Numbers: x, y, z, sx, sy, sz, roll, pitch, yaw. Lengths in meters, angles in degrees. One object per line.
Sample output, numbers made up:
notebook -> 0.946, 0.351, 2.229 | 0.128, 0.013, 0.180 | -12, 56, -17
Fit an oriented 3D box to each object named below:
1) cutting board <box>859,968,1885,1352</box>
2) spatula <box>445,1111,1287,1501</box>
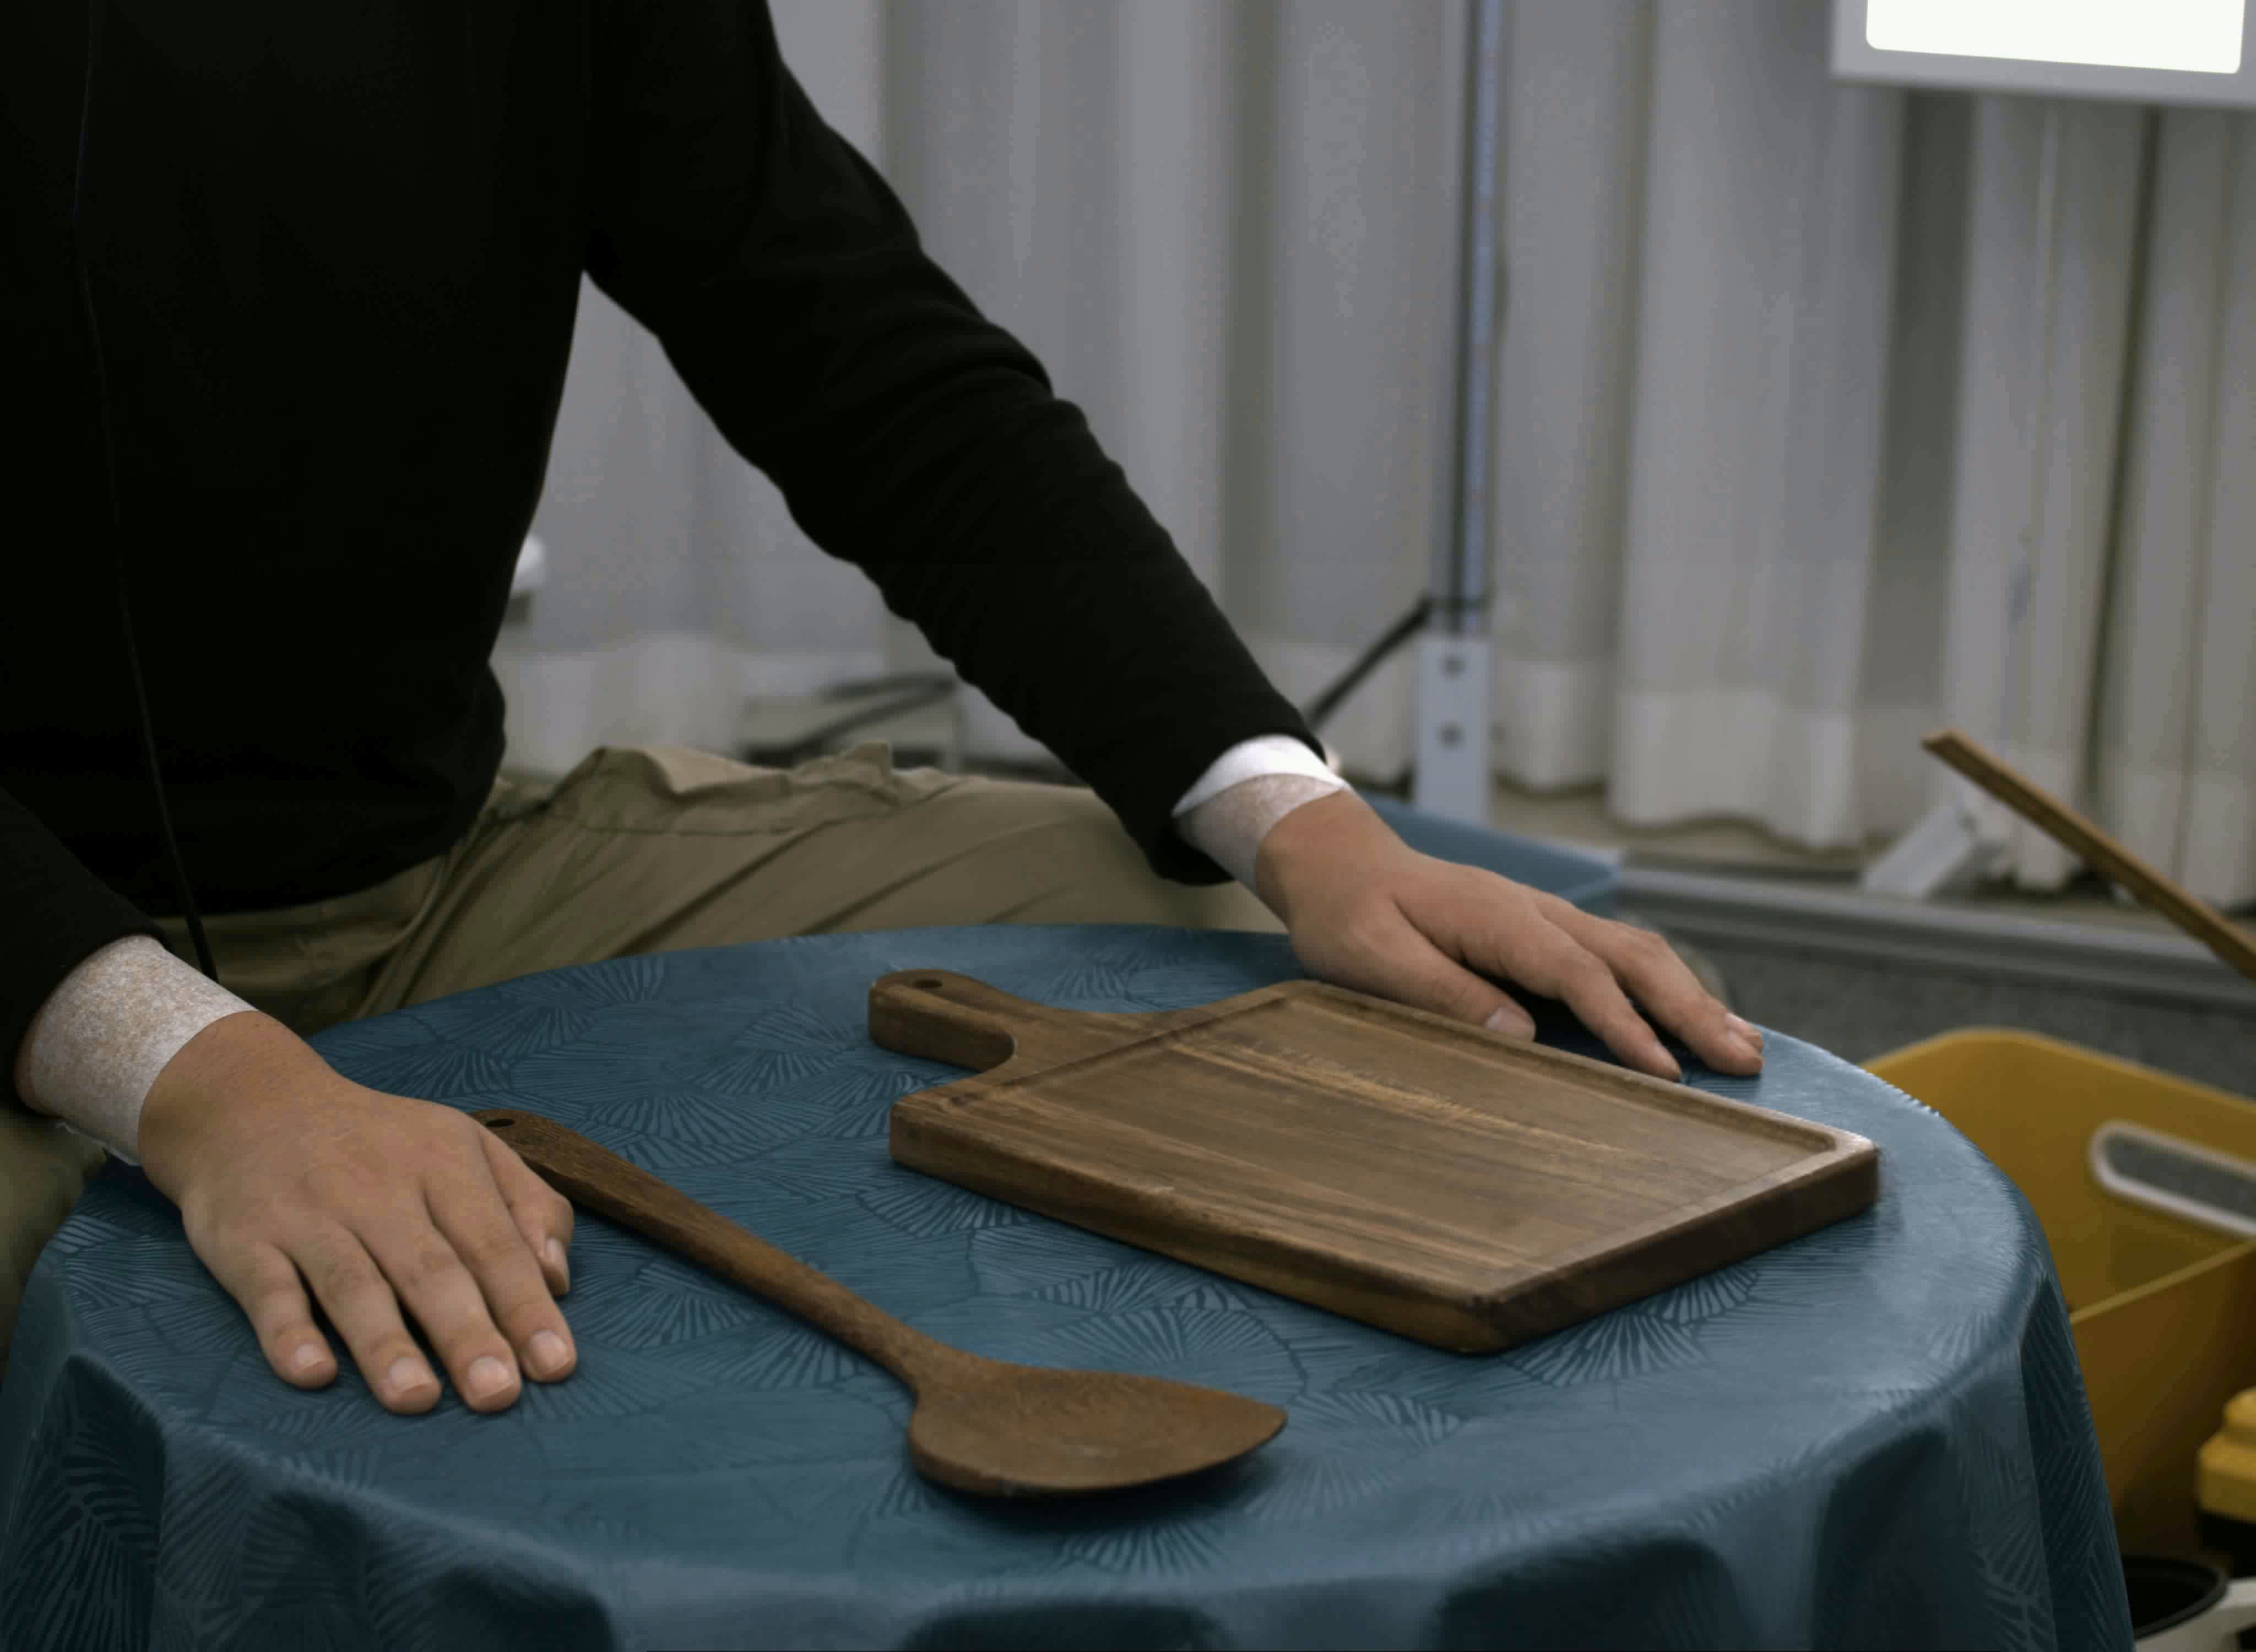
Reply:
cutting board -> 0.044, 0.091, 1.661 | 0.347, 0.023, 0.202 | 15, 20, 41
spatula -> -0.098, 0.132, 1.519 | 0.096, 0.016, 0.381 | -10, 18, -35
